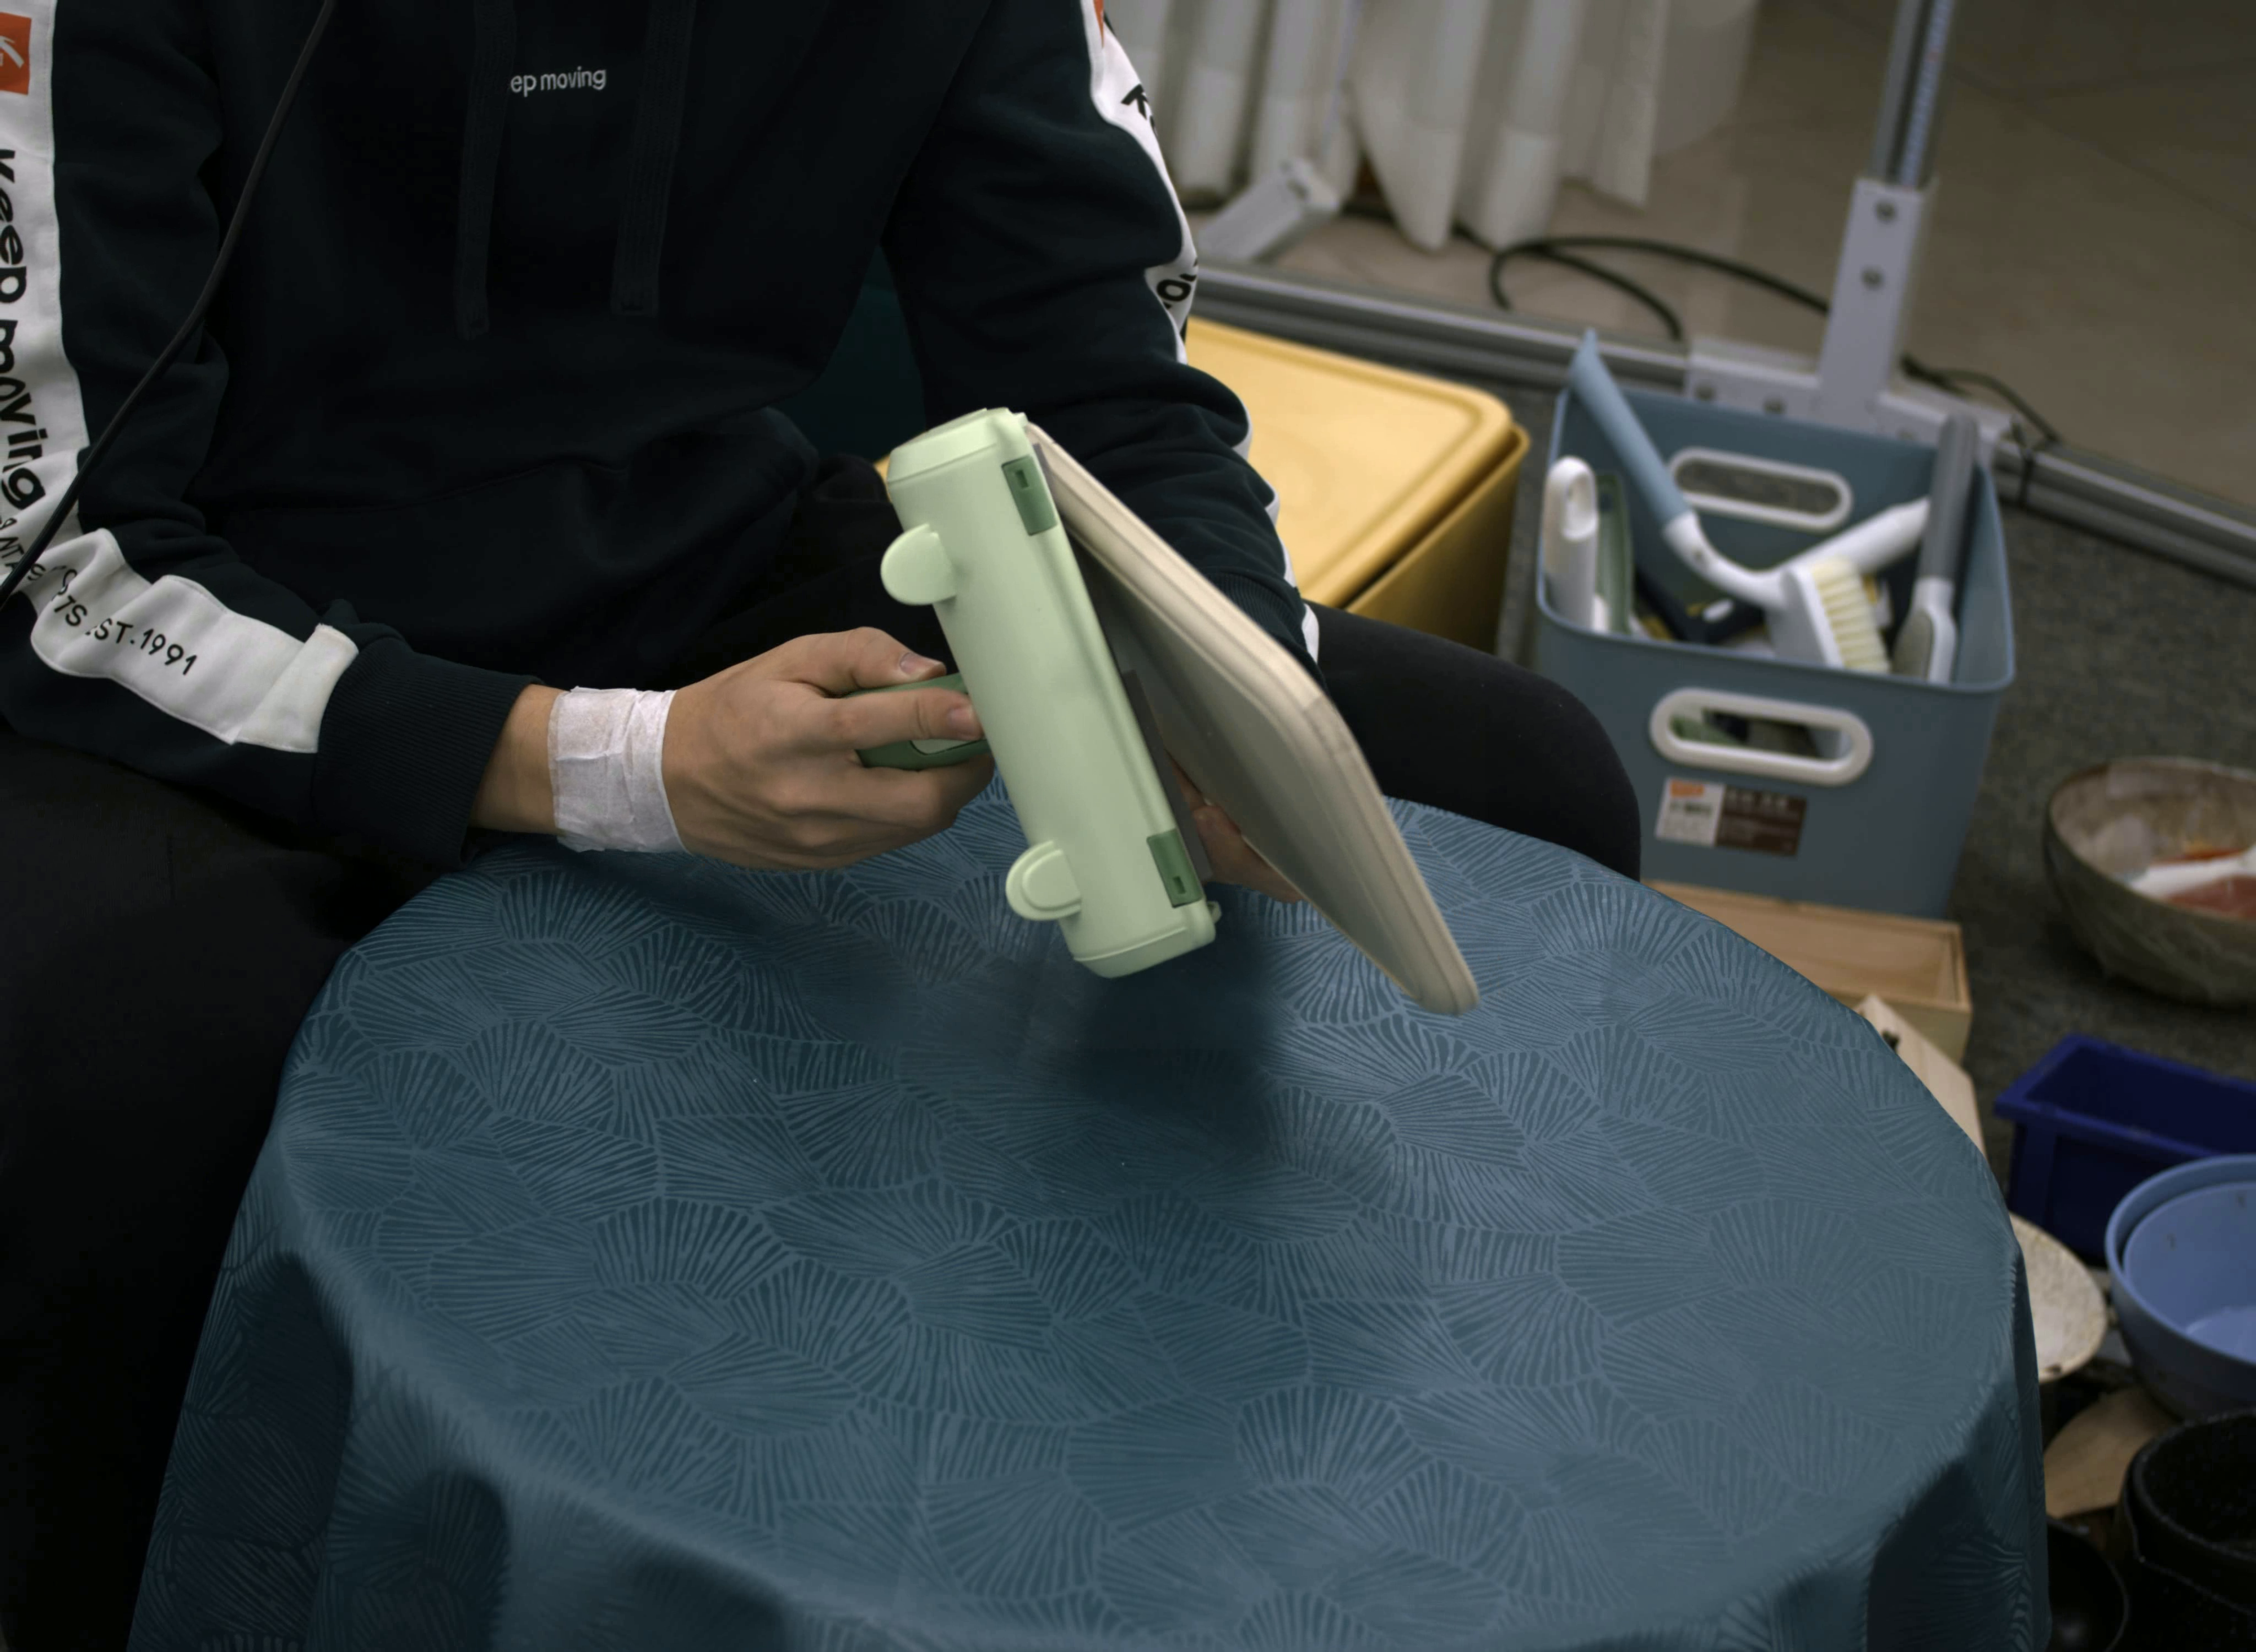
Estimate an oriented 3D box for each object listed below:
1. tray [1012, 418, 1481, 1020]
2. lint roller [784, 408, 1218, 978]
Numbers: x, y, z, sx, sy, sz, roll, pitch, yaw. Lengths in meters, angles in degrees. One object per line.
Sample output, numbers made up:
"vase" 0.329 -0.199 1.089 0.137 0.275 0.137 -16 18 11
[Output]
"tray" 0.035 -0.036 1.829 0.017 0.170 0.242 -34 39 -9
"lint roller" -0.071 -0.032 1.848 0.184 0.198 0.082 -16 9 40
